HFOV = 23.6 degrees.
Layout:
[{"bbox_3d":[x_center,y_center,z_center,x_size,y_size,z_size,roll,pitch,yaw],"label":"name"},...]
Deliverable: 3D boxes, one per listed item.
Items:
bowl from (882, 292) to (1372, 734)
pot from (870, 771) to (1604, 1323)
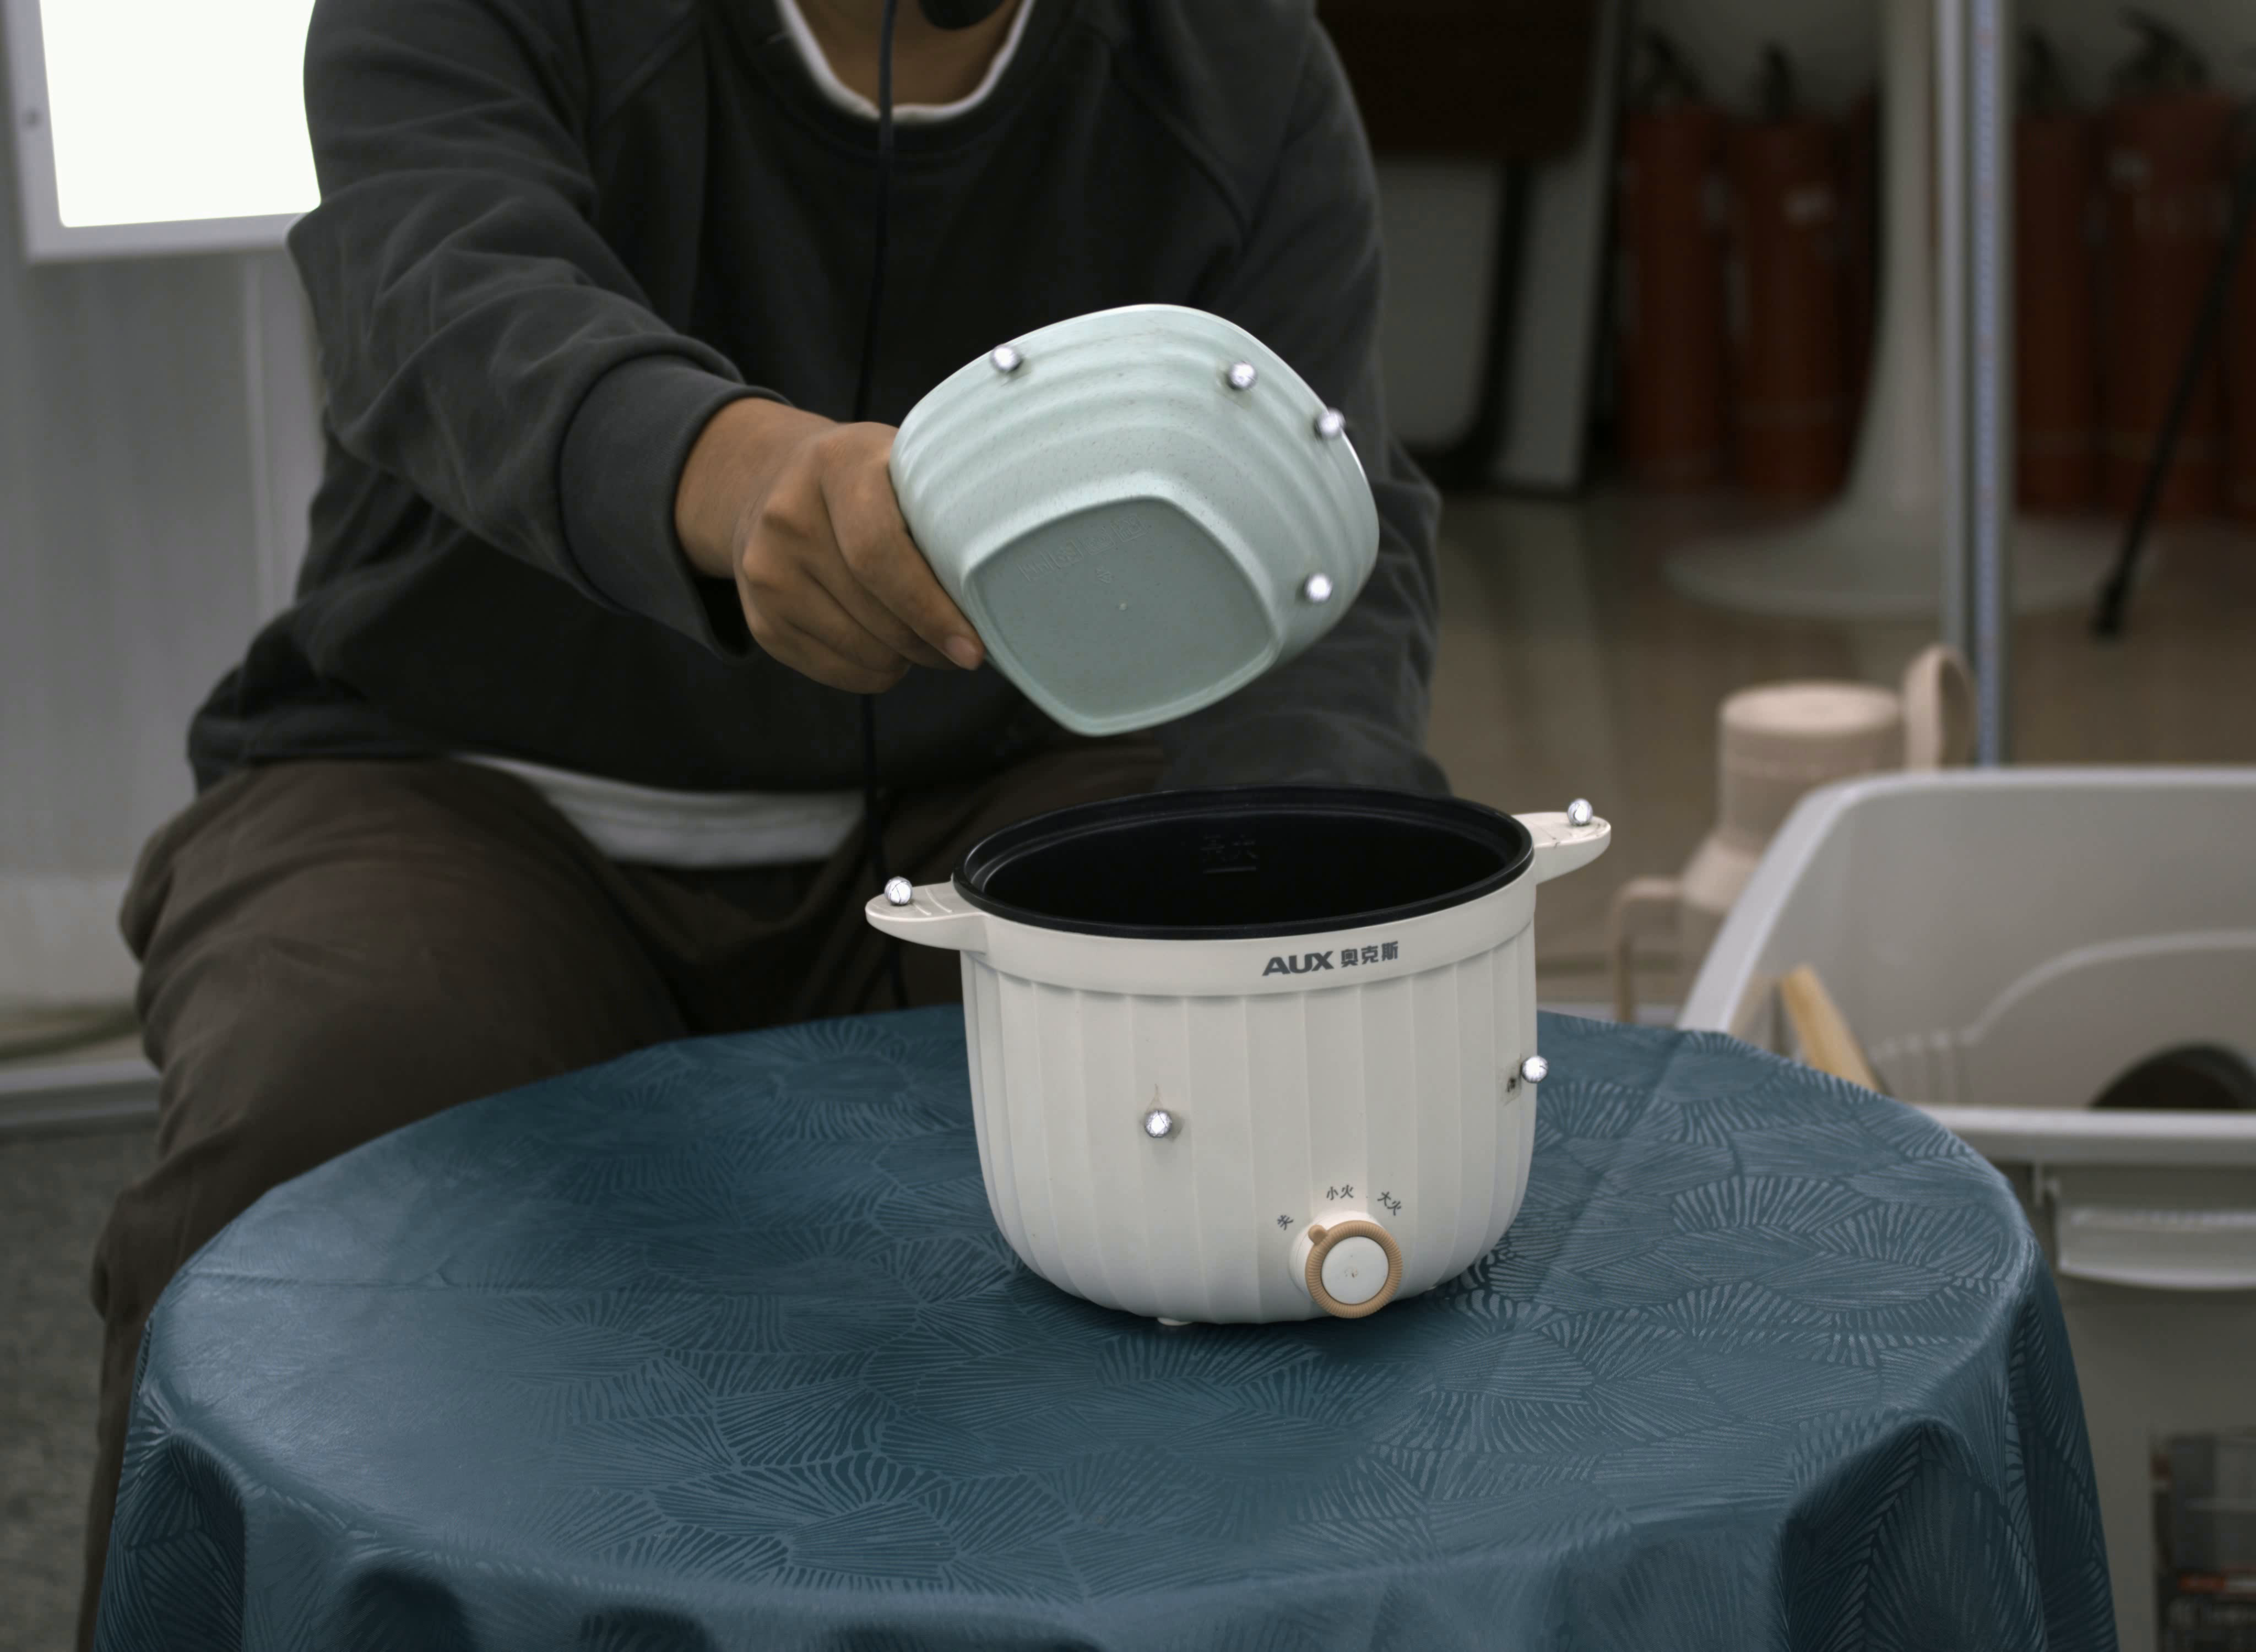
[{"bbox_3d":[-0.002,-0.082,1.606,0.150,0.152,0.059,-1,43,8],"label":"bowl"},{"bbox_3d":[0.043,0.070,1.672,0.236,0.144,0.192,-9,11,-14],"label":"pot"}]
